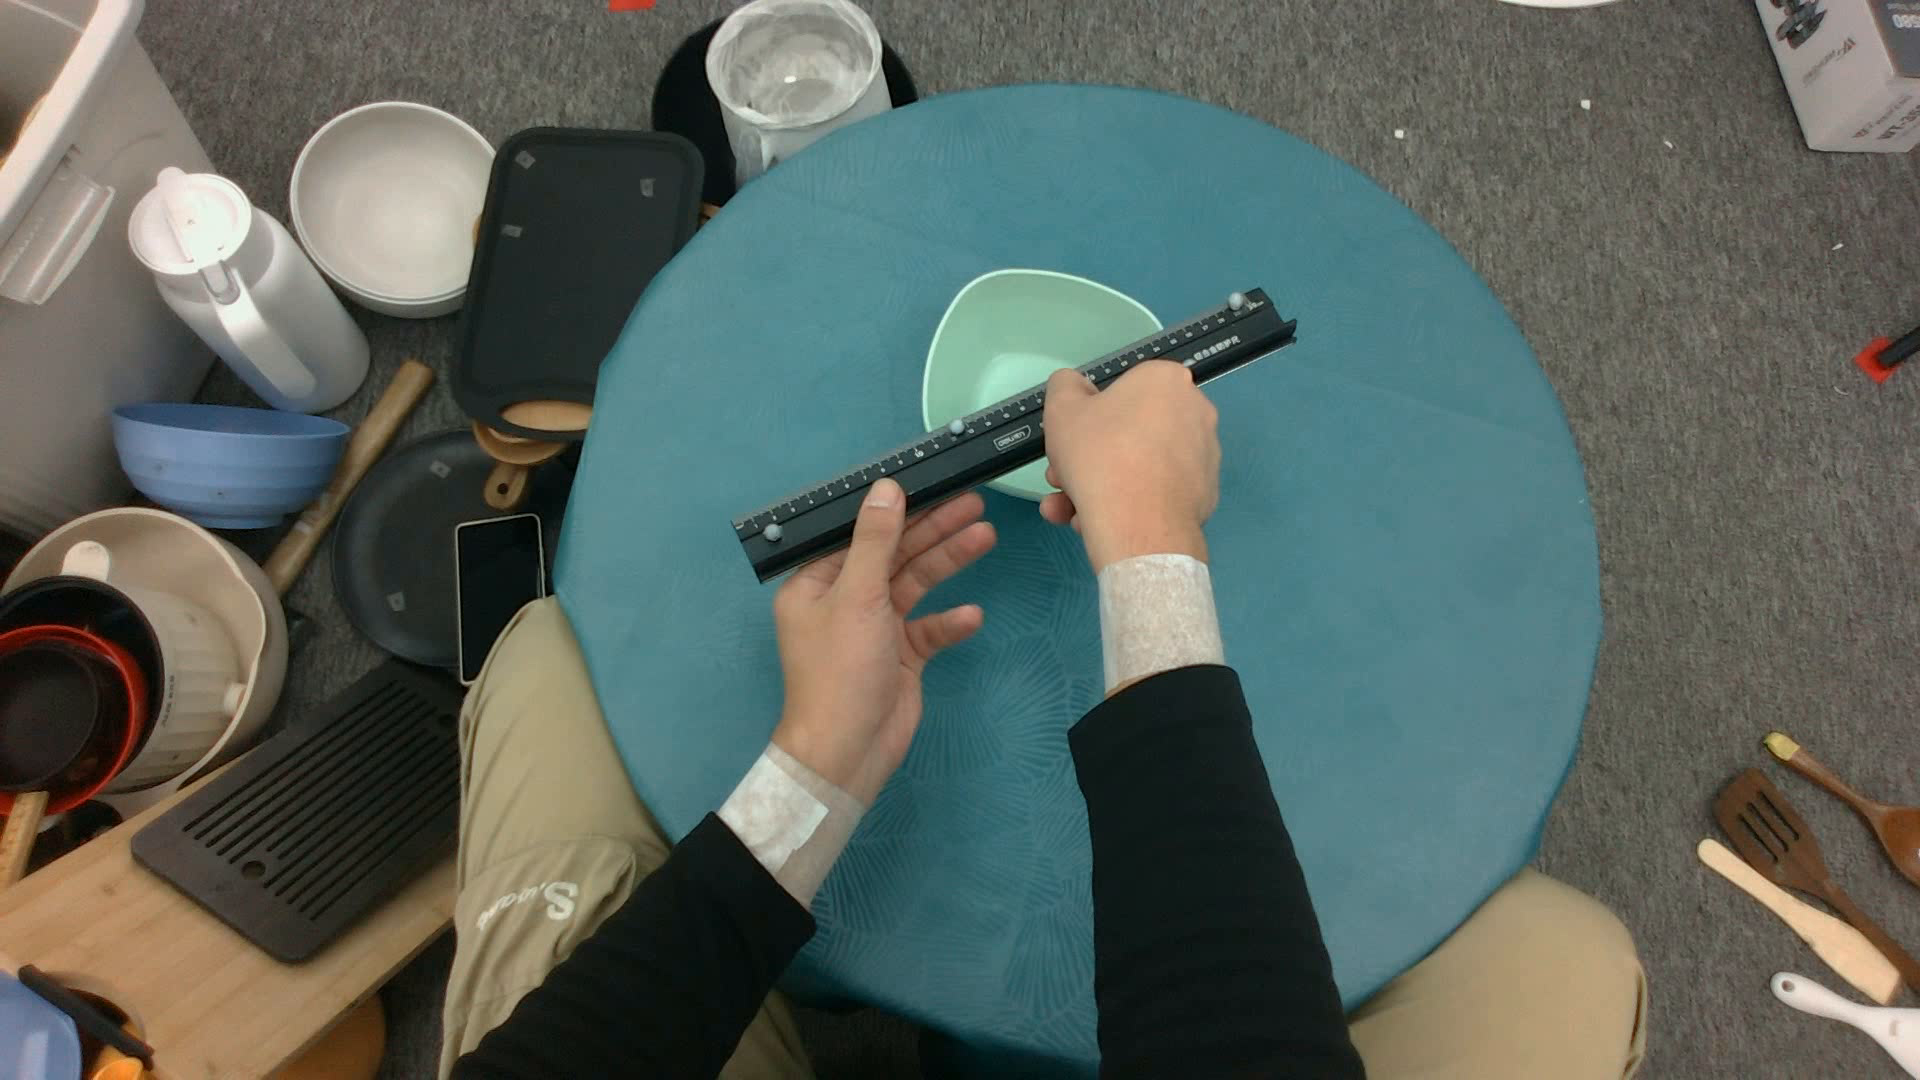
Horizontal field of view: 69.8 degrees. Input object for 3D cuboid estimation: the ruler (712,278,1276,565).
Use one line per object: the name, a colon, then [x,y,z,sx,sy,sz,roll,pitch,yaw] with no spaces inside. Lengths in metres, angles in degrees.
ruler: [0.023,-0.068,0.704,0.313,0.017,0.039,-24,69,-13]

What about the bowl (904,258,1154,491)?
bowl: [0.037,-0.086,0.791,0.151,0.058,0.152,2,69,-5]
